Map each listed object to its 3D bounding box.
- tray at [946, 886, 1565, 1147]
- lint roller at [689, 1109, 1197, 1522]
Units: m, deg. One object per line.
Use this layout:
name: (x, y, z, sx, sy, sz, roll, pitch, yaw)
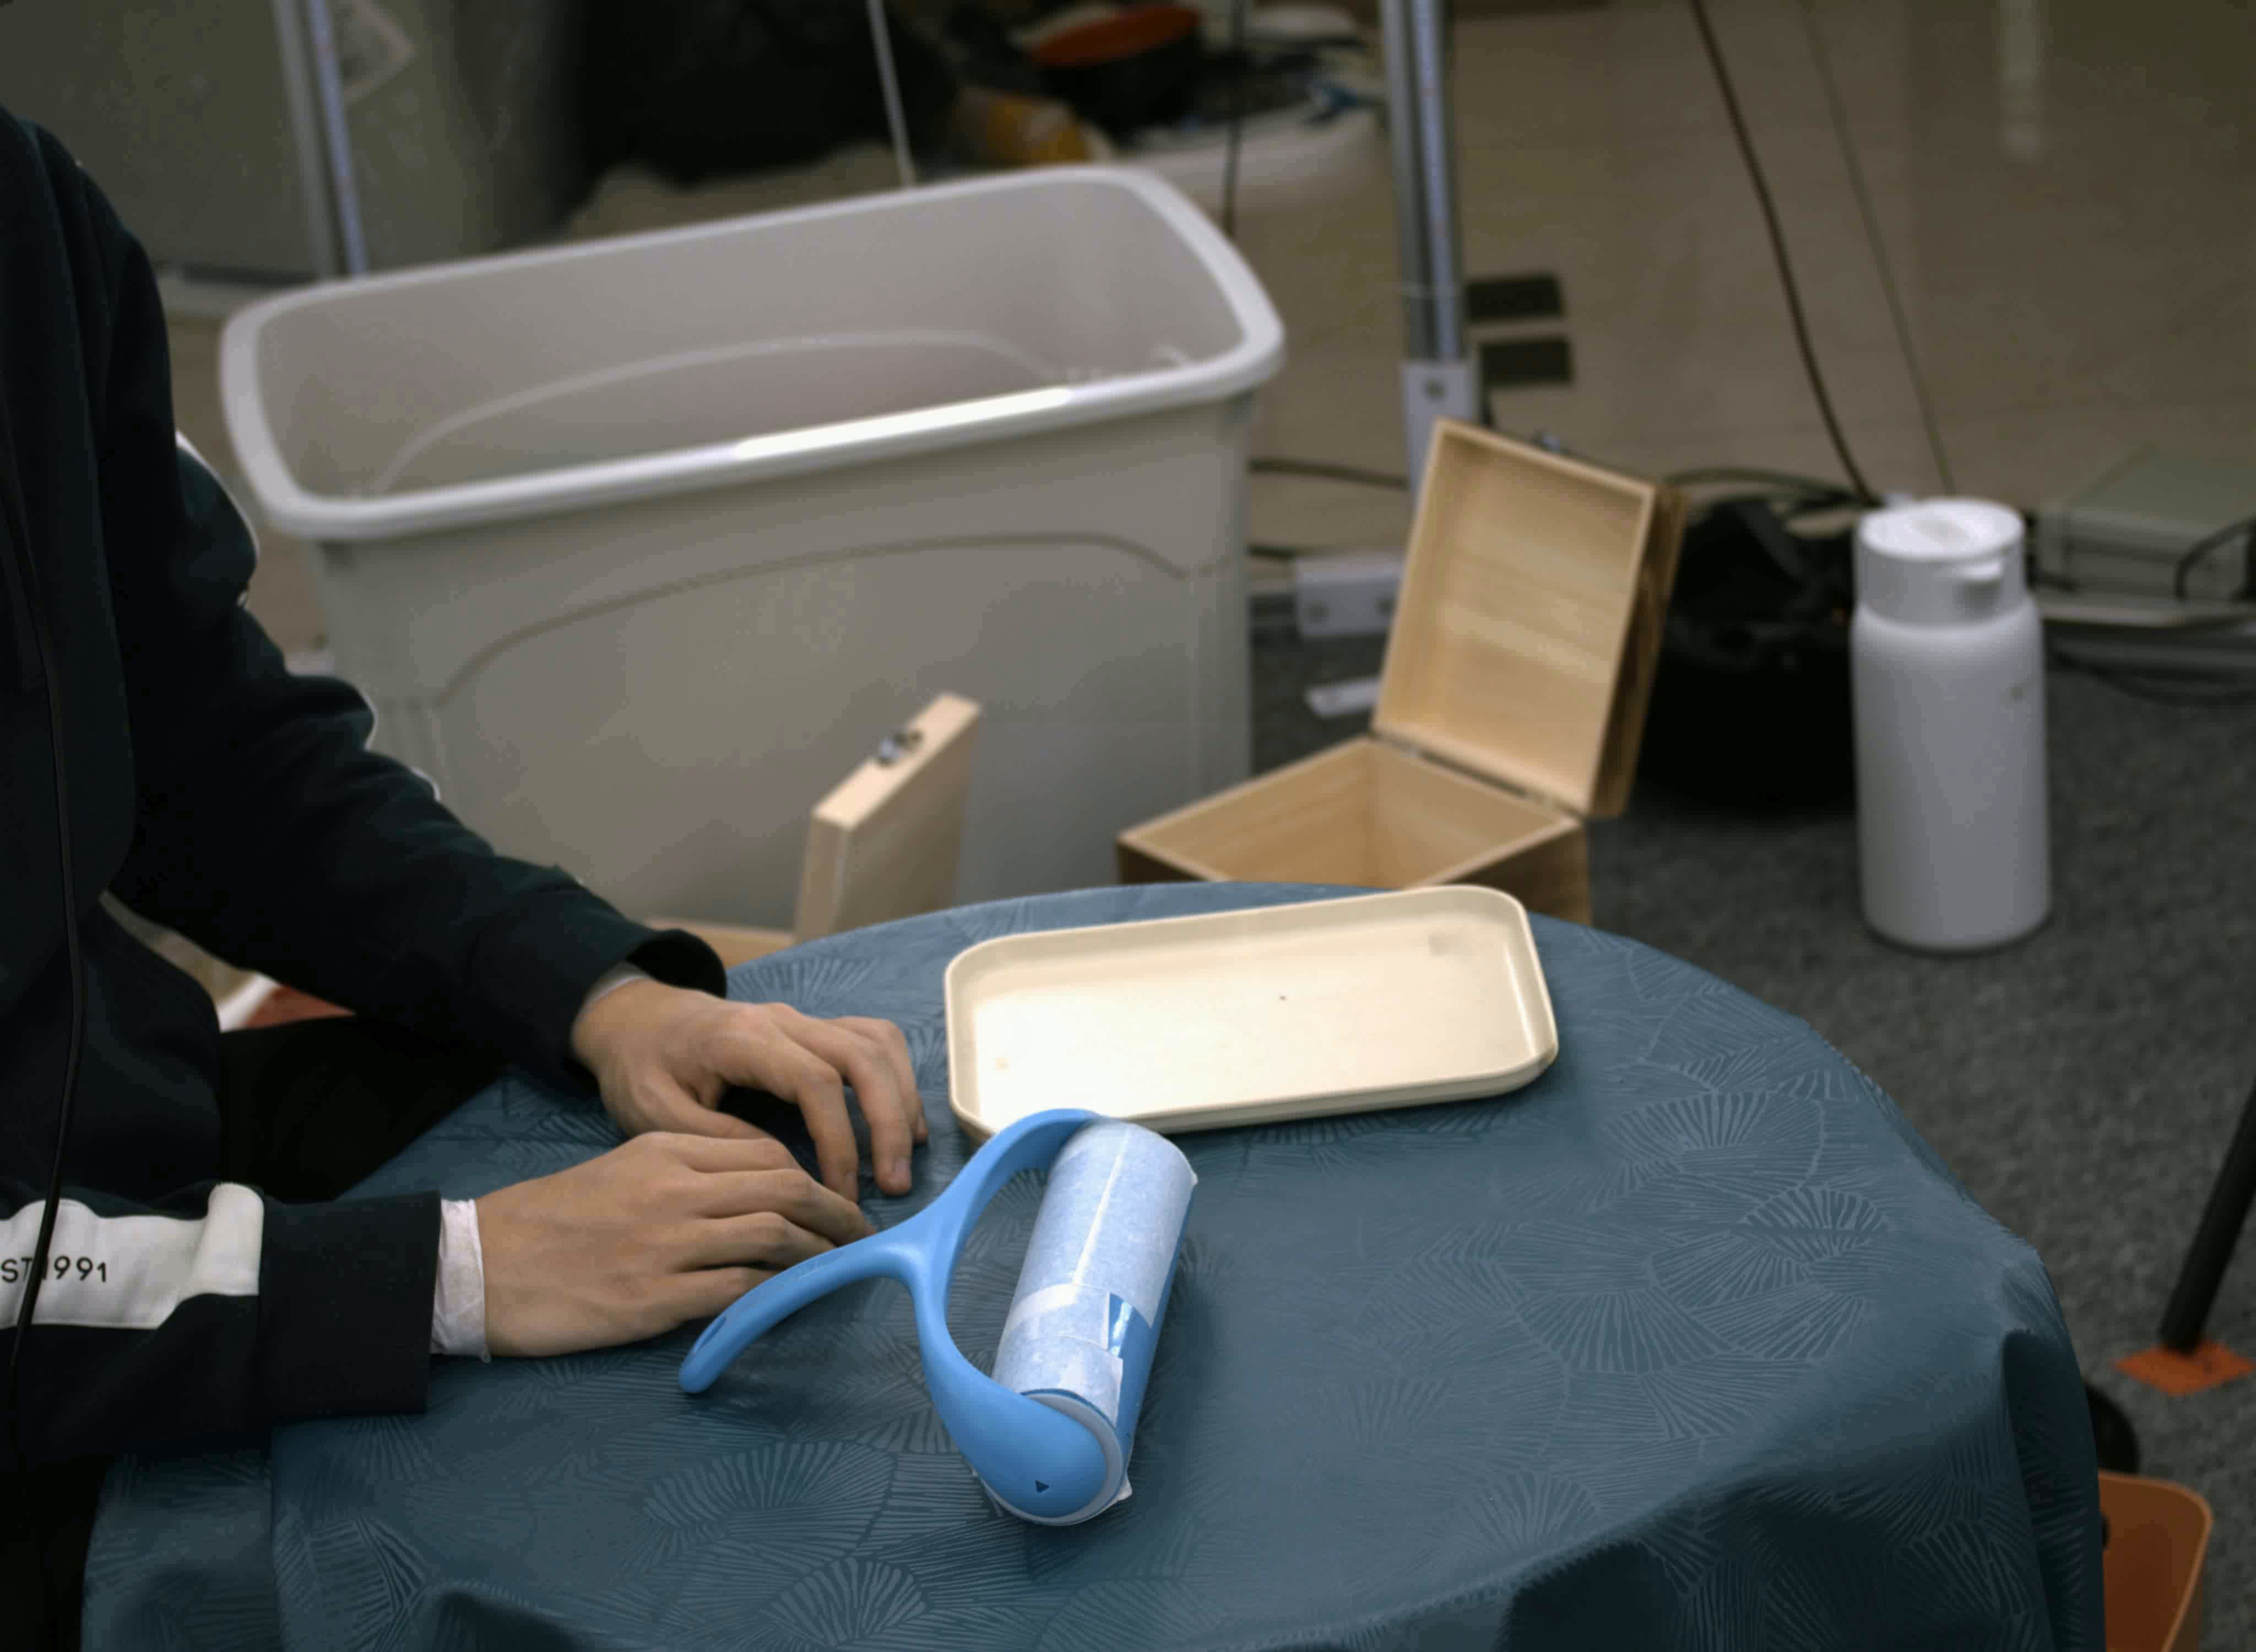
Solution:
tray: (0.048, 0.076, 2.244, 0.239, 0.018, 0.169, -7, 24, 0)
lint roller: (-0.072, 0.175, 2.017, 0.180, 0.069, 0.225, -3, 27, 7)
